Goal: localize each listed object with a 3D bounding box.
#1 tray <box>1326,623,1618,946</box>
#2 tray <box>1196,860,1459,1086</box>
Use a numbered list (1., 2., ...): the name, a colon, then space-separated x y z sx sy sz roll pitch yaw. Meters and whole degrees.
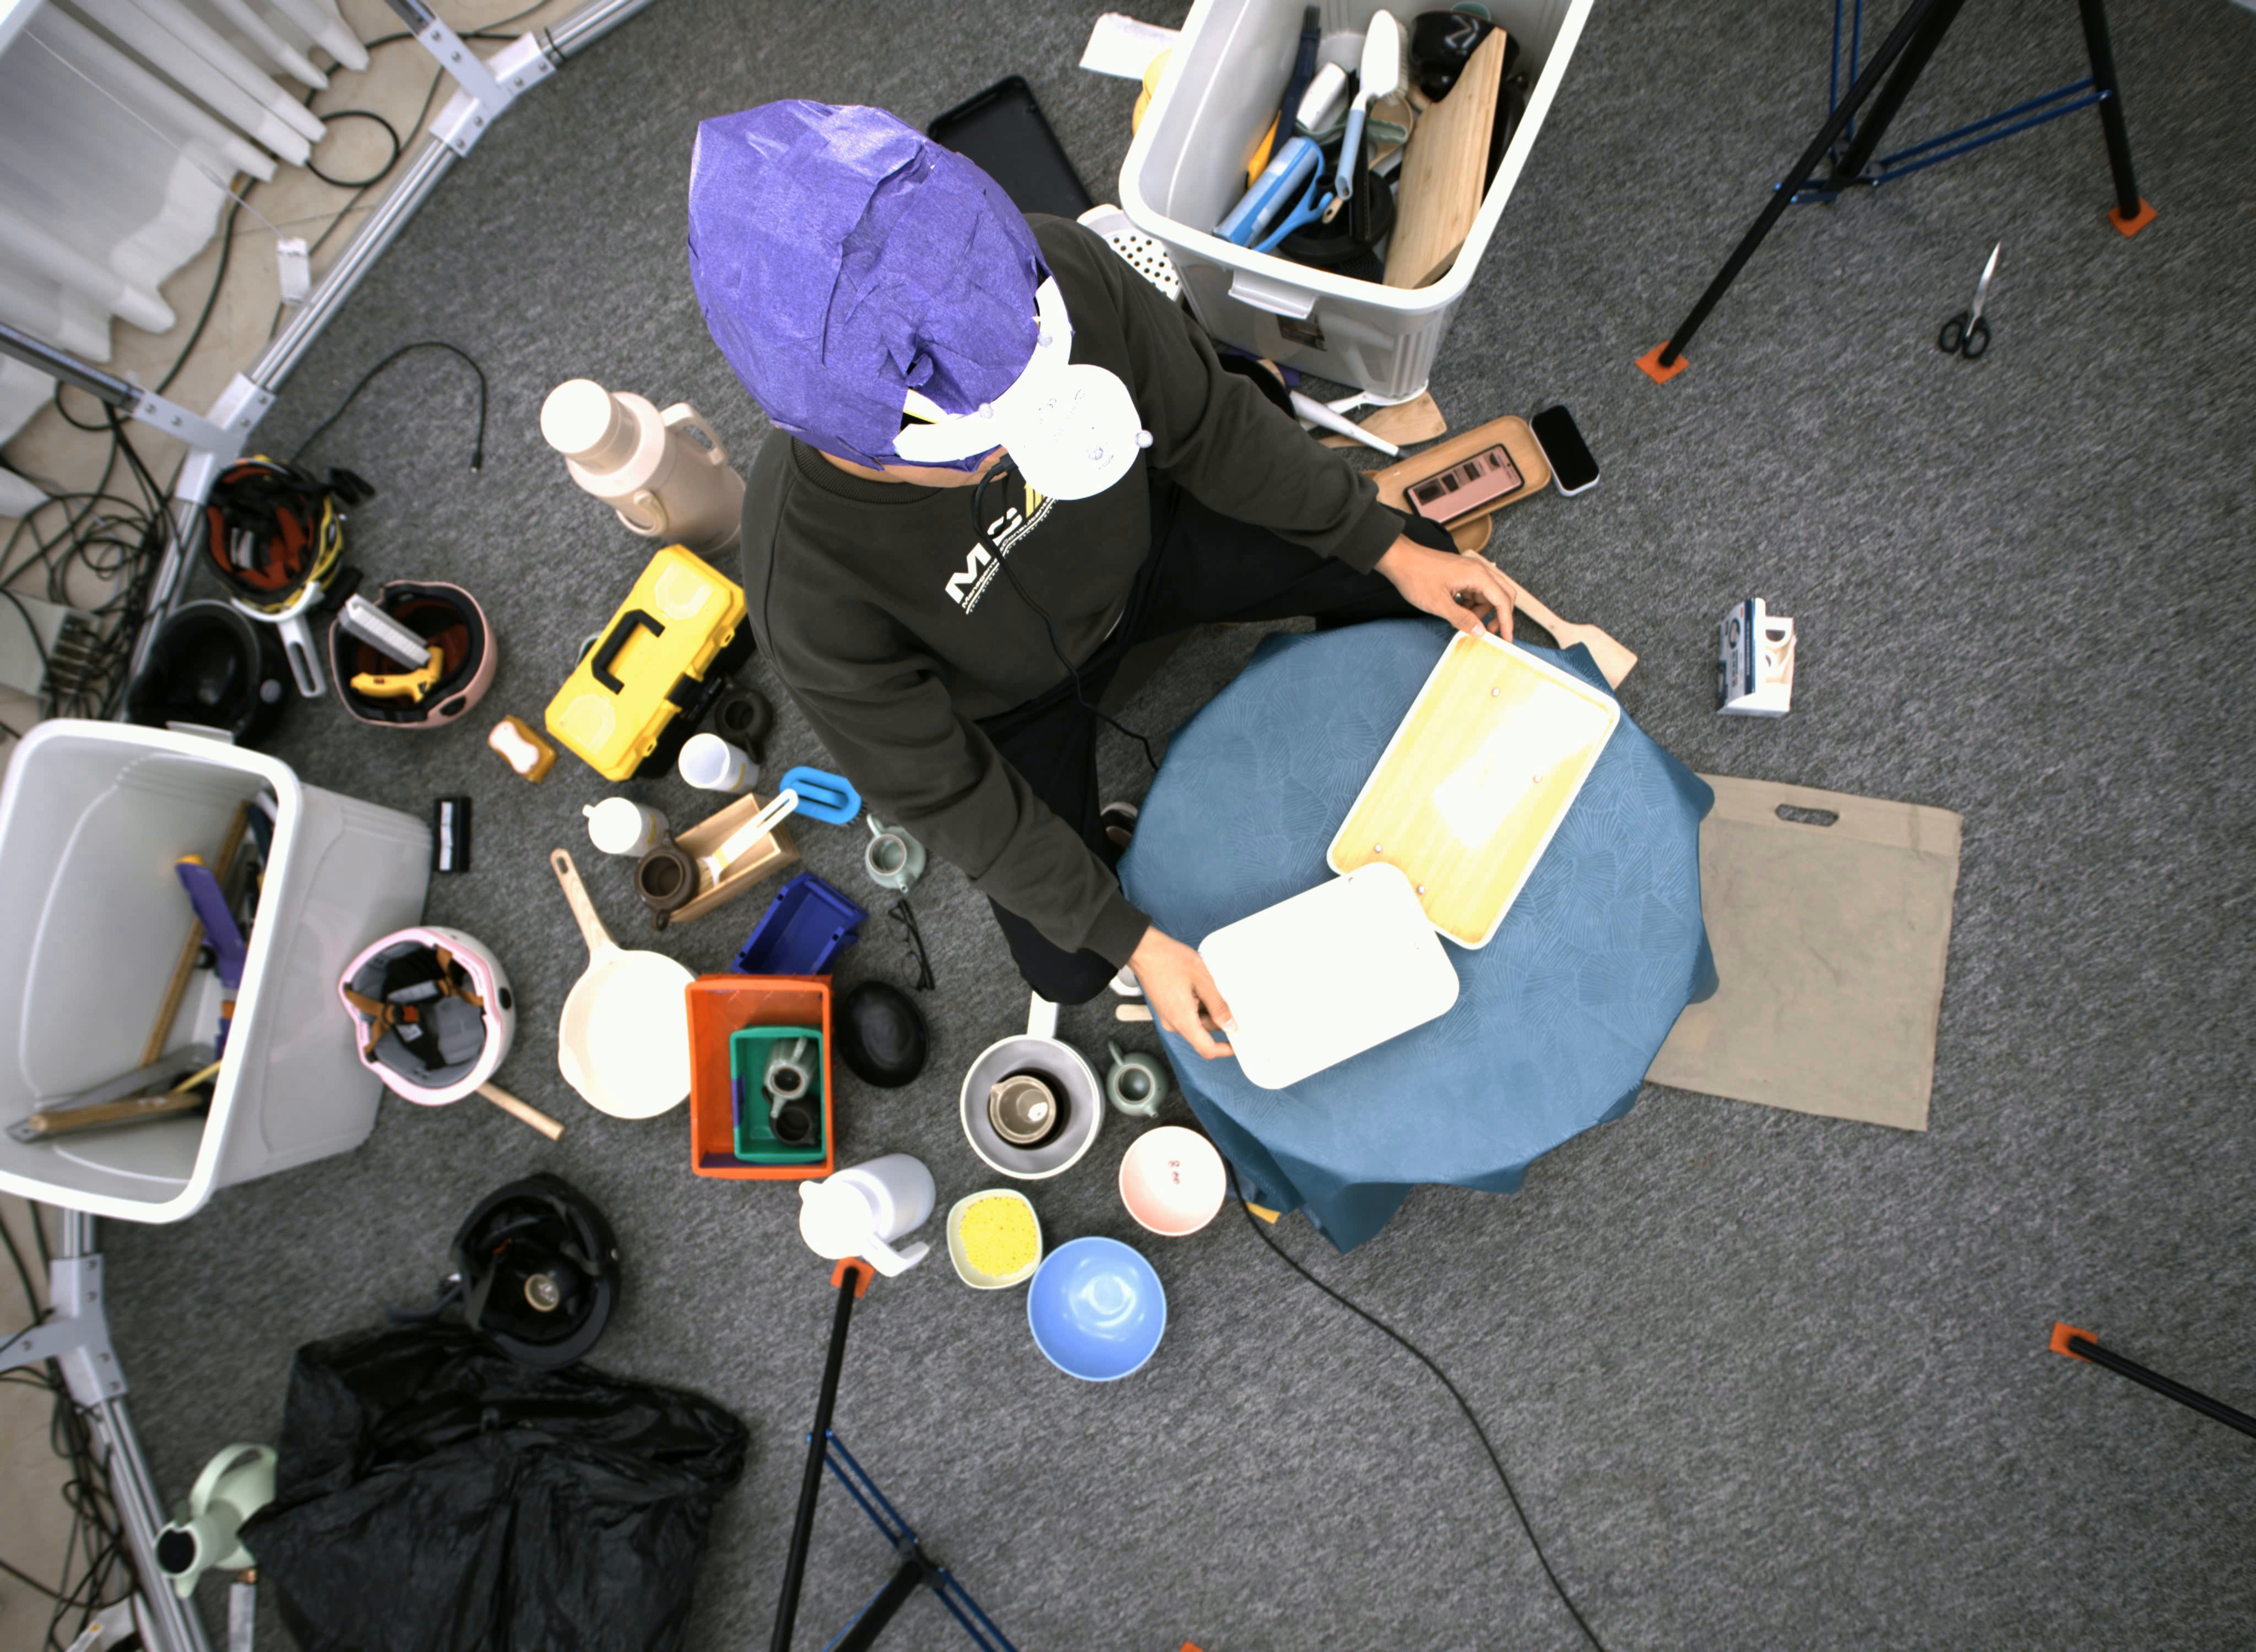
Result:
1. tray: 0.358 -0.046 1.437 0.191 0.027 0.301 31 92 11
2. tray: 0.202 0.147 1.404 0.239 0.018 0.169 -24 78 -6
